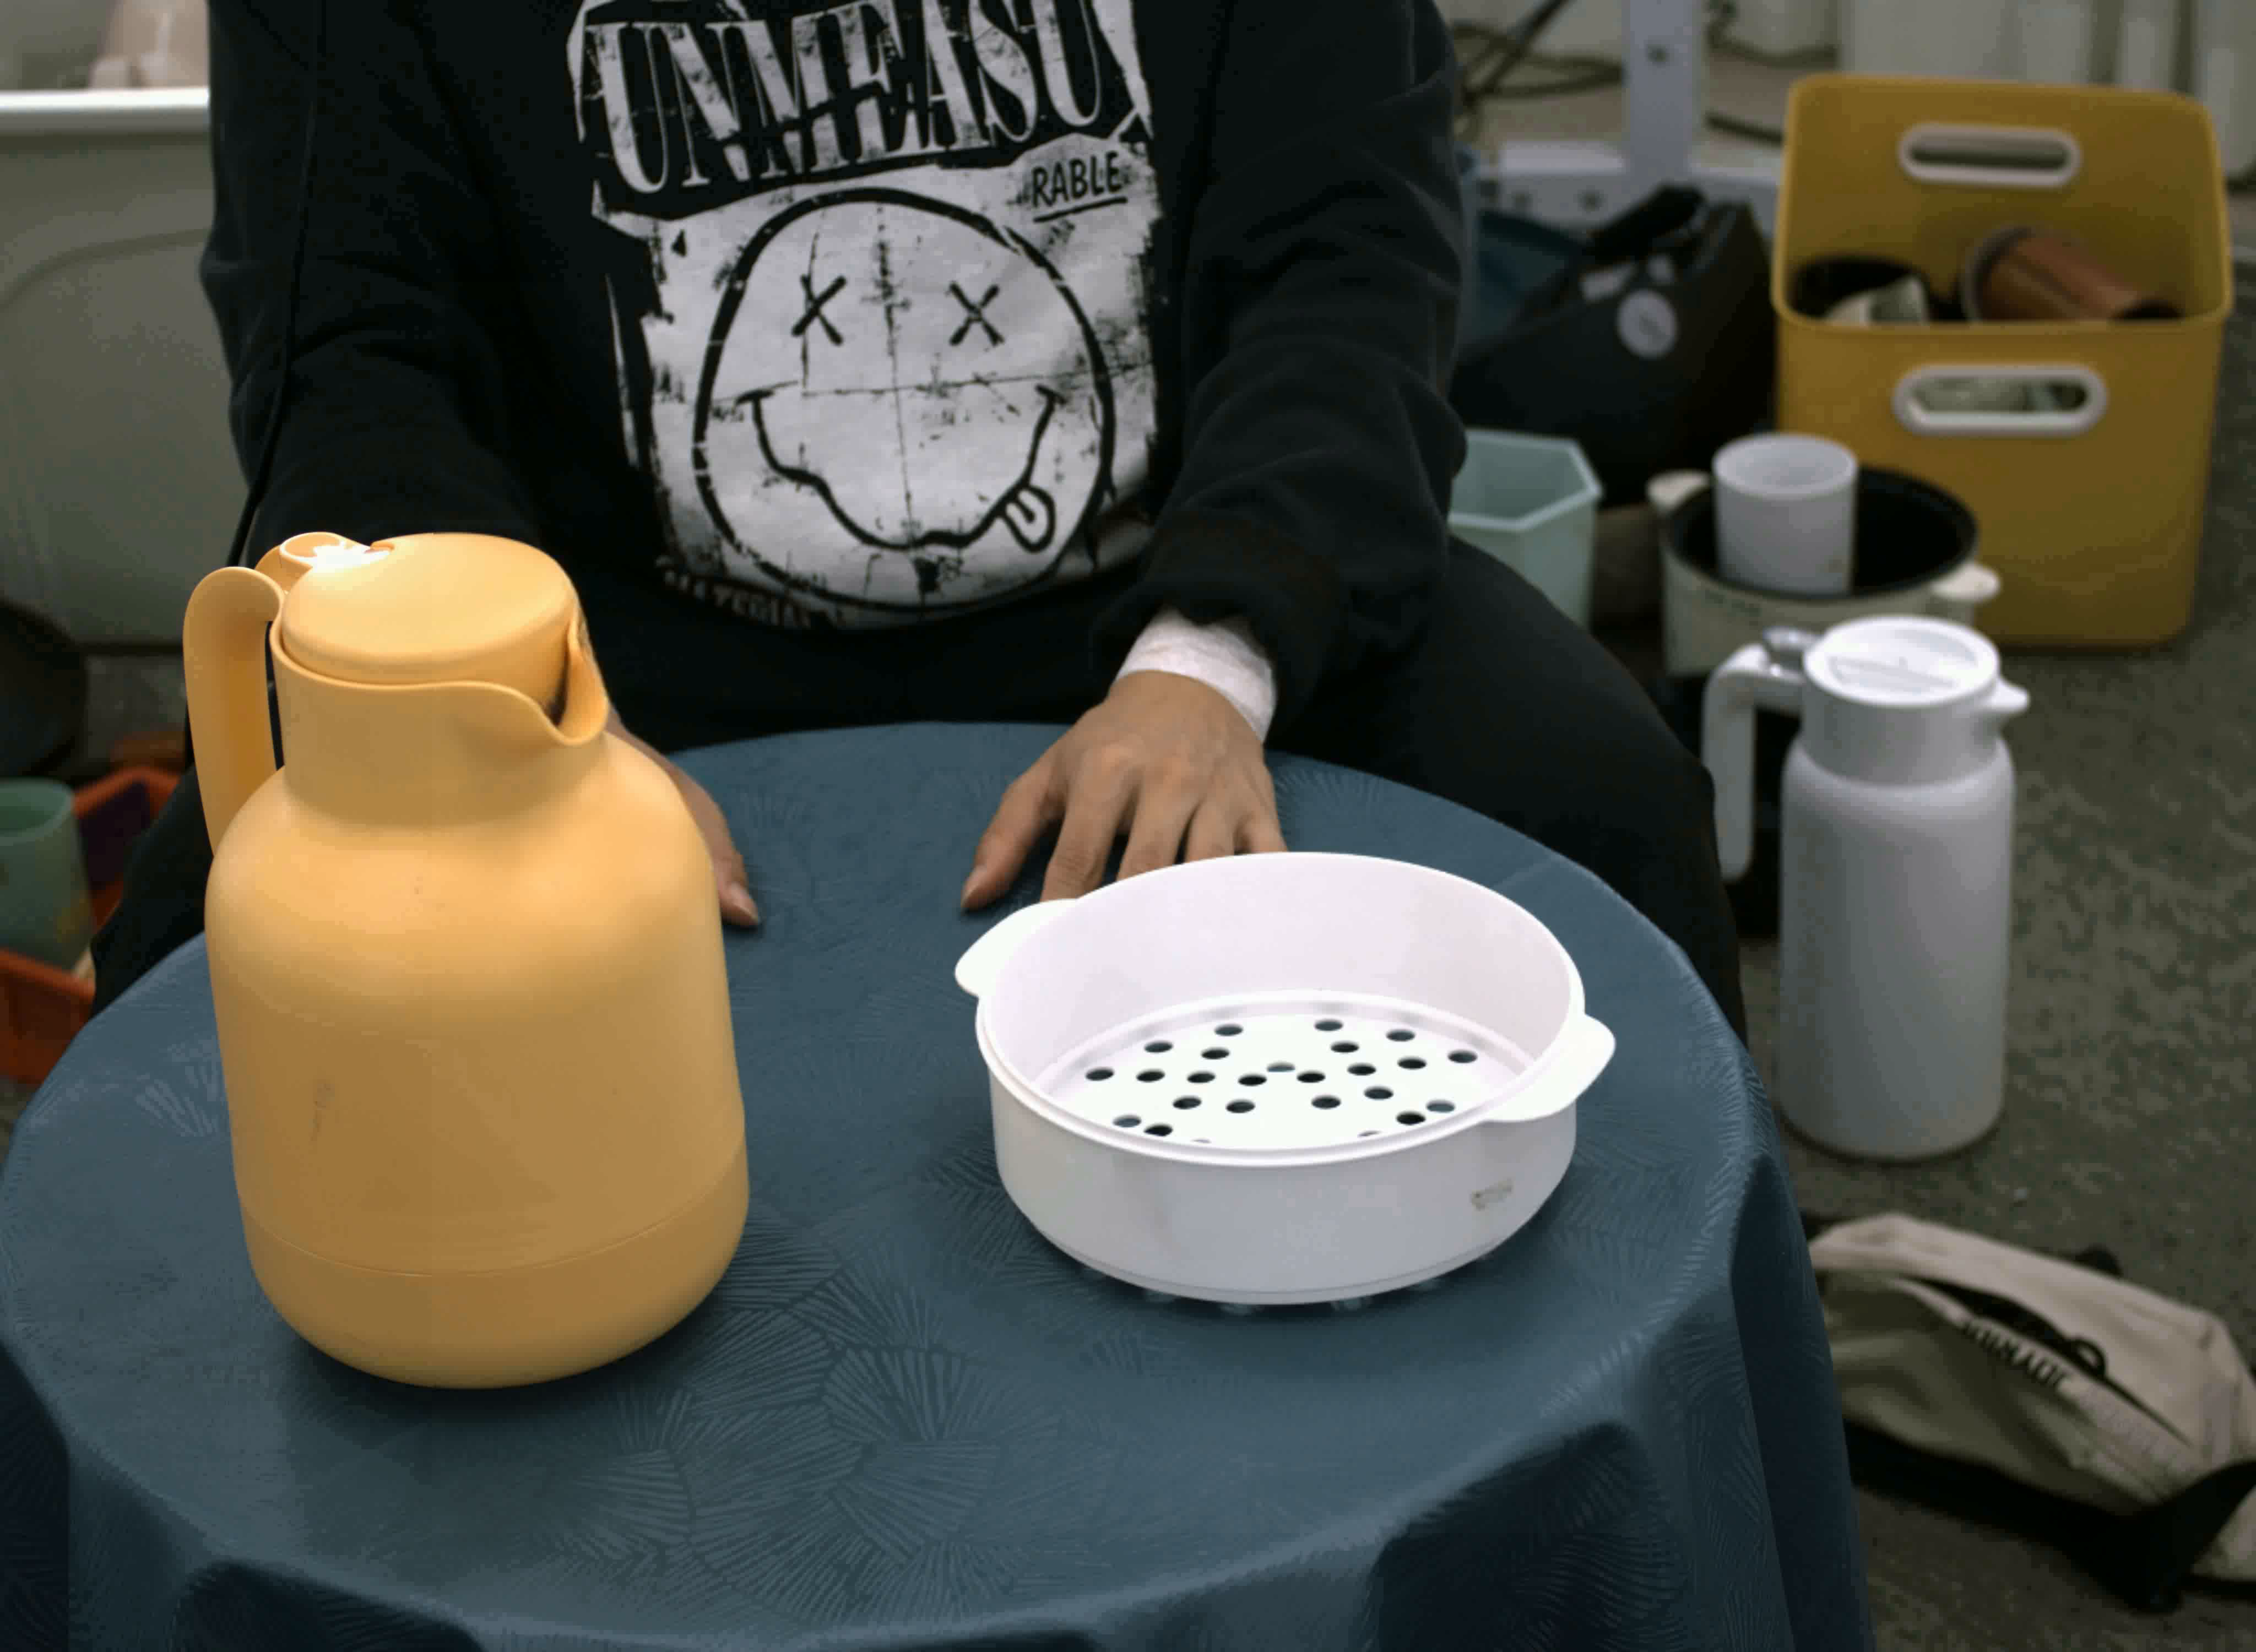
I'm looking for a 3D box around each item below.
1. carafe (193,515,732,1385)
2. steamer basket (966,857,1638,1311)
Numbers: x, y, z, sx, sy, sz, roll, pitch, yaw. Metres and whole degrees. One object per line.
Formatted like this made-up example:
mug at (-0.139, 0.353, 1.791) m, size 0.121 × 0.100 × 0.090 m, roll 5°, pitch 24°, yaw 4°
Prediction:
carafe at (-0.221, 0.029, 1.778) m, size 0.165 × 0.257 × 0.202 m, roll -21°, pitch 33°, yaw -37°
steamer basket at (0.055, 0.085, 1.851) m, size 0.229 × 0.068 × 0.205 m, roll 14°, pitch 30°, yaw 25°
